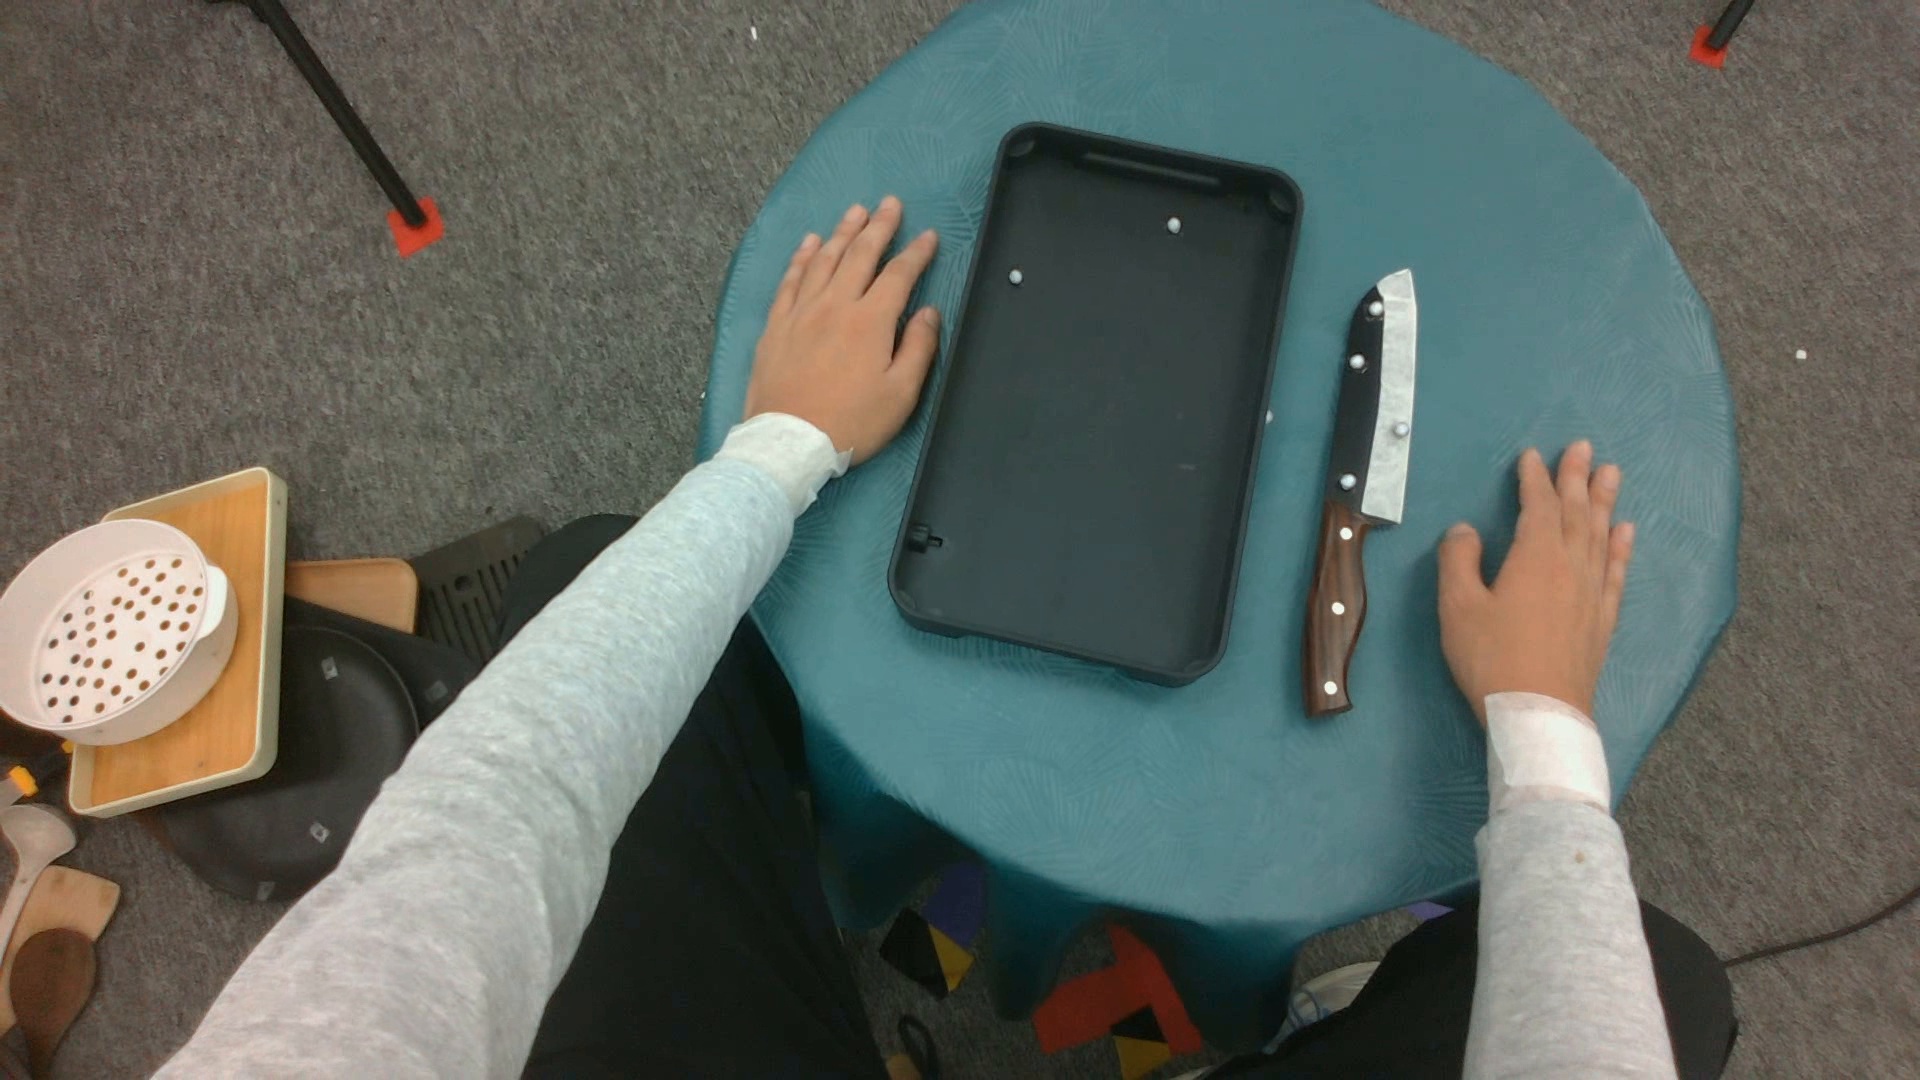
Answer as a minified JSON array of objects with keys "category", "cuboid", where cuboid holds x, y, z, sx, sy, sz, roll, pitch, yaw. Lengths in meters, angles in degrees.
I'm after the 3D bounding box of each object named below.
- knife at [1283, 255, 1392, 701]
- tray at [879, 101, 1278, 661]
[{"category":"knife","cuboid":[0.217,-0.044,0.782,0.050,0.020,0.290,16,68,-2]},{"category":"tray","cuboid":[0.072,-0.097,0.785,0.184,0.037,0.319,11,71,2]}]
